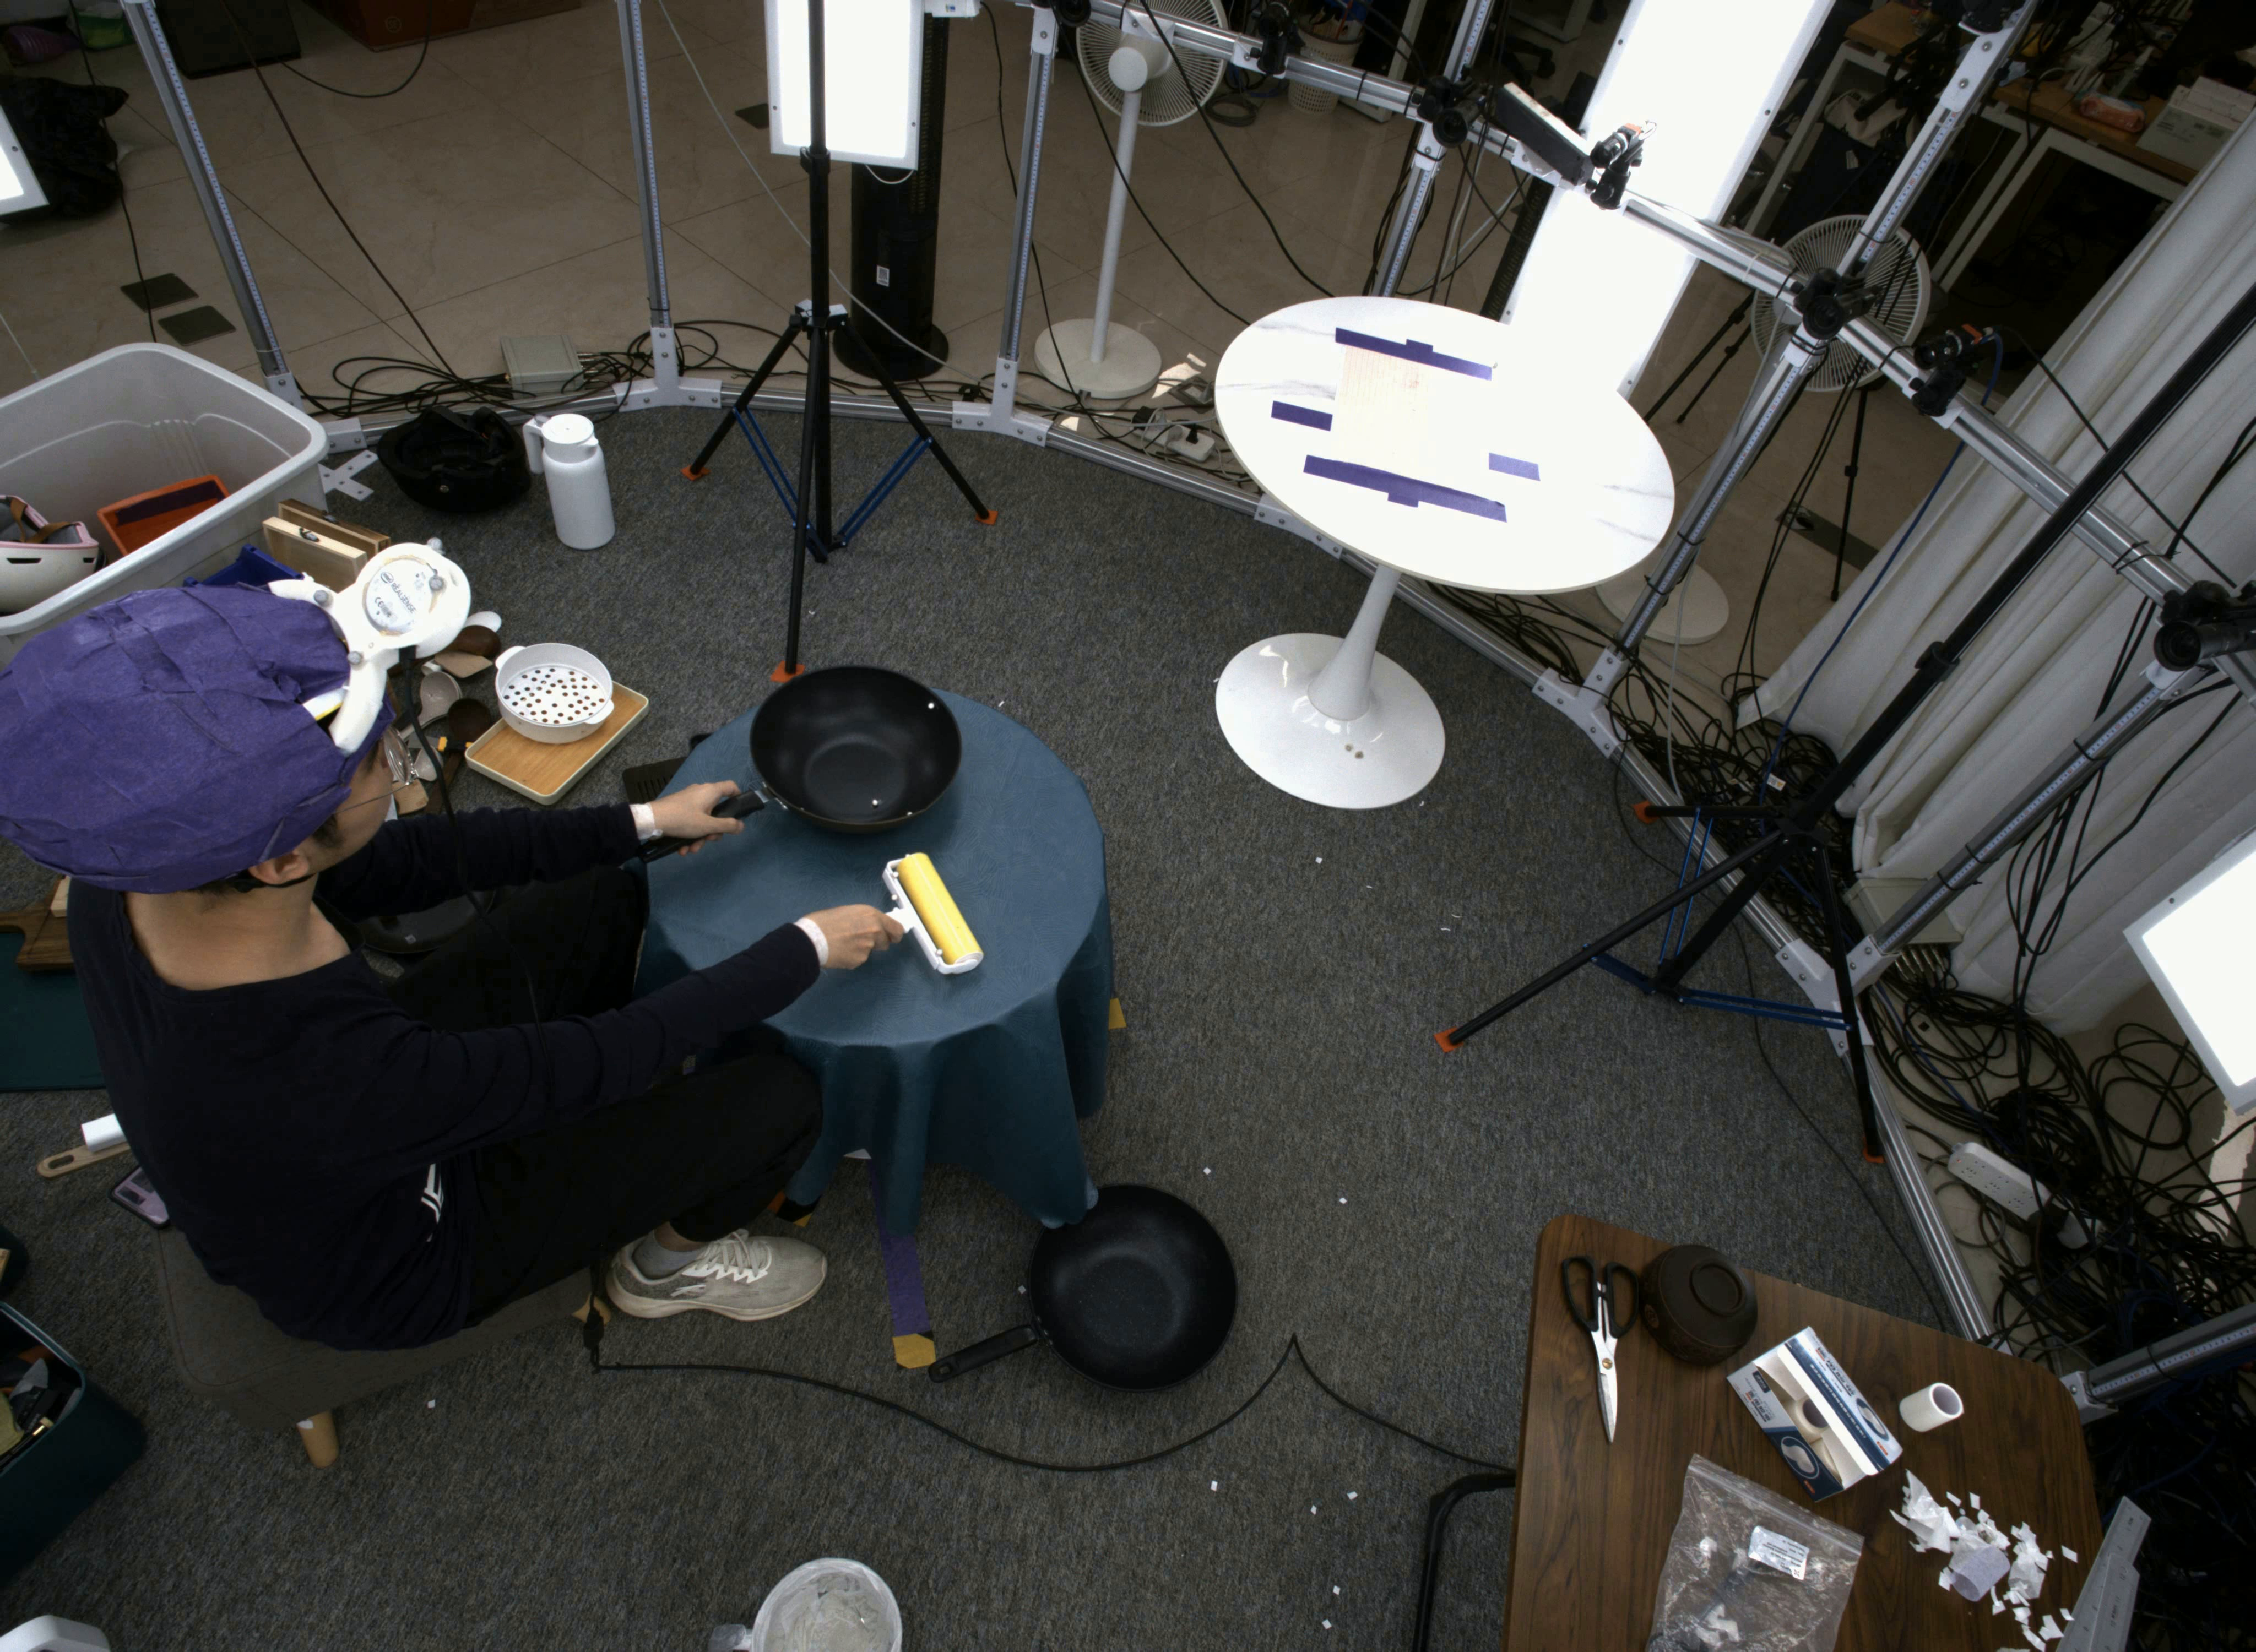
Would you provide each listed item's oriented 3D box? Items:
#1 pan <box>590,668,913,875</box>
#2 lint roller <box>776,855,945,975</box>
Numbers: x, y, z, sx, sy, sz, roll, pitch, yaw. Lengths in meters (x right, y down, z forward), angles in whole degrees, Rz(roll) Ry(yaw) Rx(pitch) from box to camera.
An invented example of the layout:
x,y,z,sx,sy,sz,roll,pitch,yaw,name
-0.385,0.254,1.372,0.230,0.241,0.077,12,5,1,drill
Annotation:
x,y,z,sx,sy,sz,roll,pitch,yaw,name
-0.492,-0.039,1.692,0.281,0.088,0.464,41,55,18,pan
-0.343,0.121,1.600,0.195,0.052,0.170,-13,57,-47,lint roller
